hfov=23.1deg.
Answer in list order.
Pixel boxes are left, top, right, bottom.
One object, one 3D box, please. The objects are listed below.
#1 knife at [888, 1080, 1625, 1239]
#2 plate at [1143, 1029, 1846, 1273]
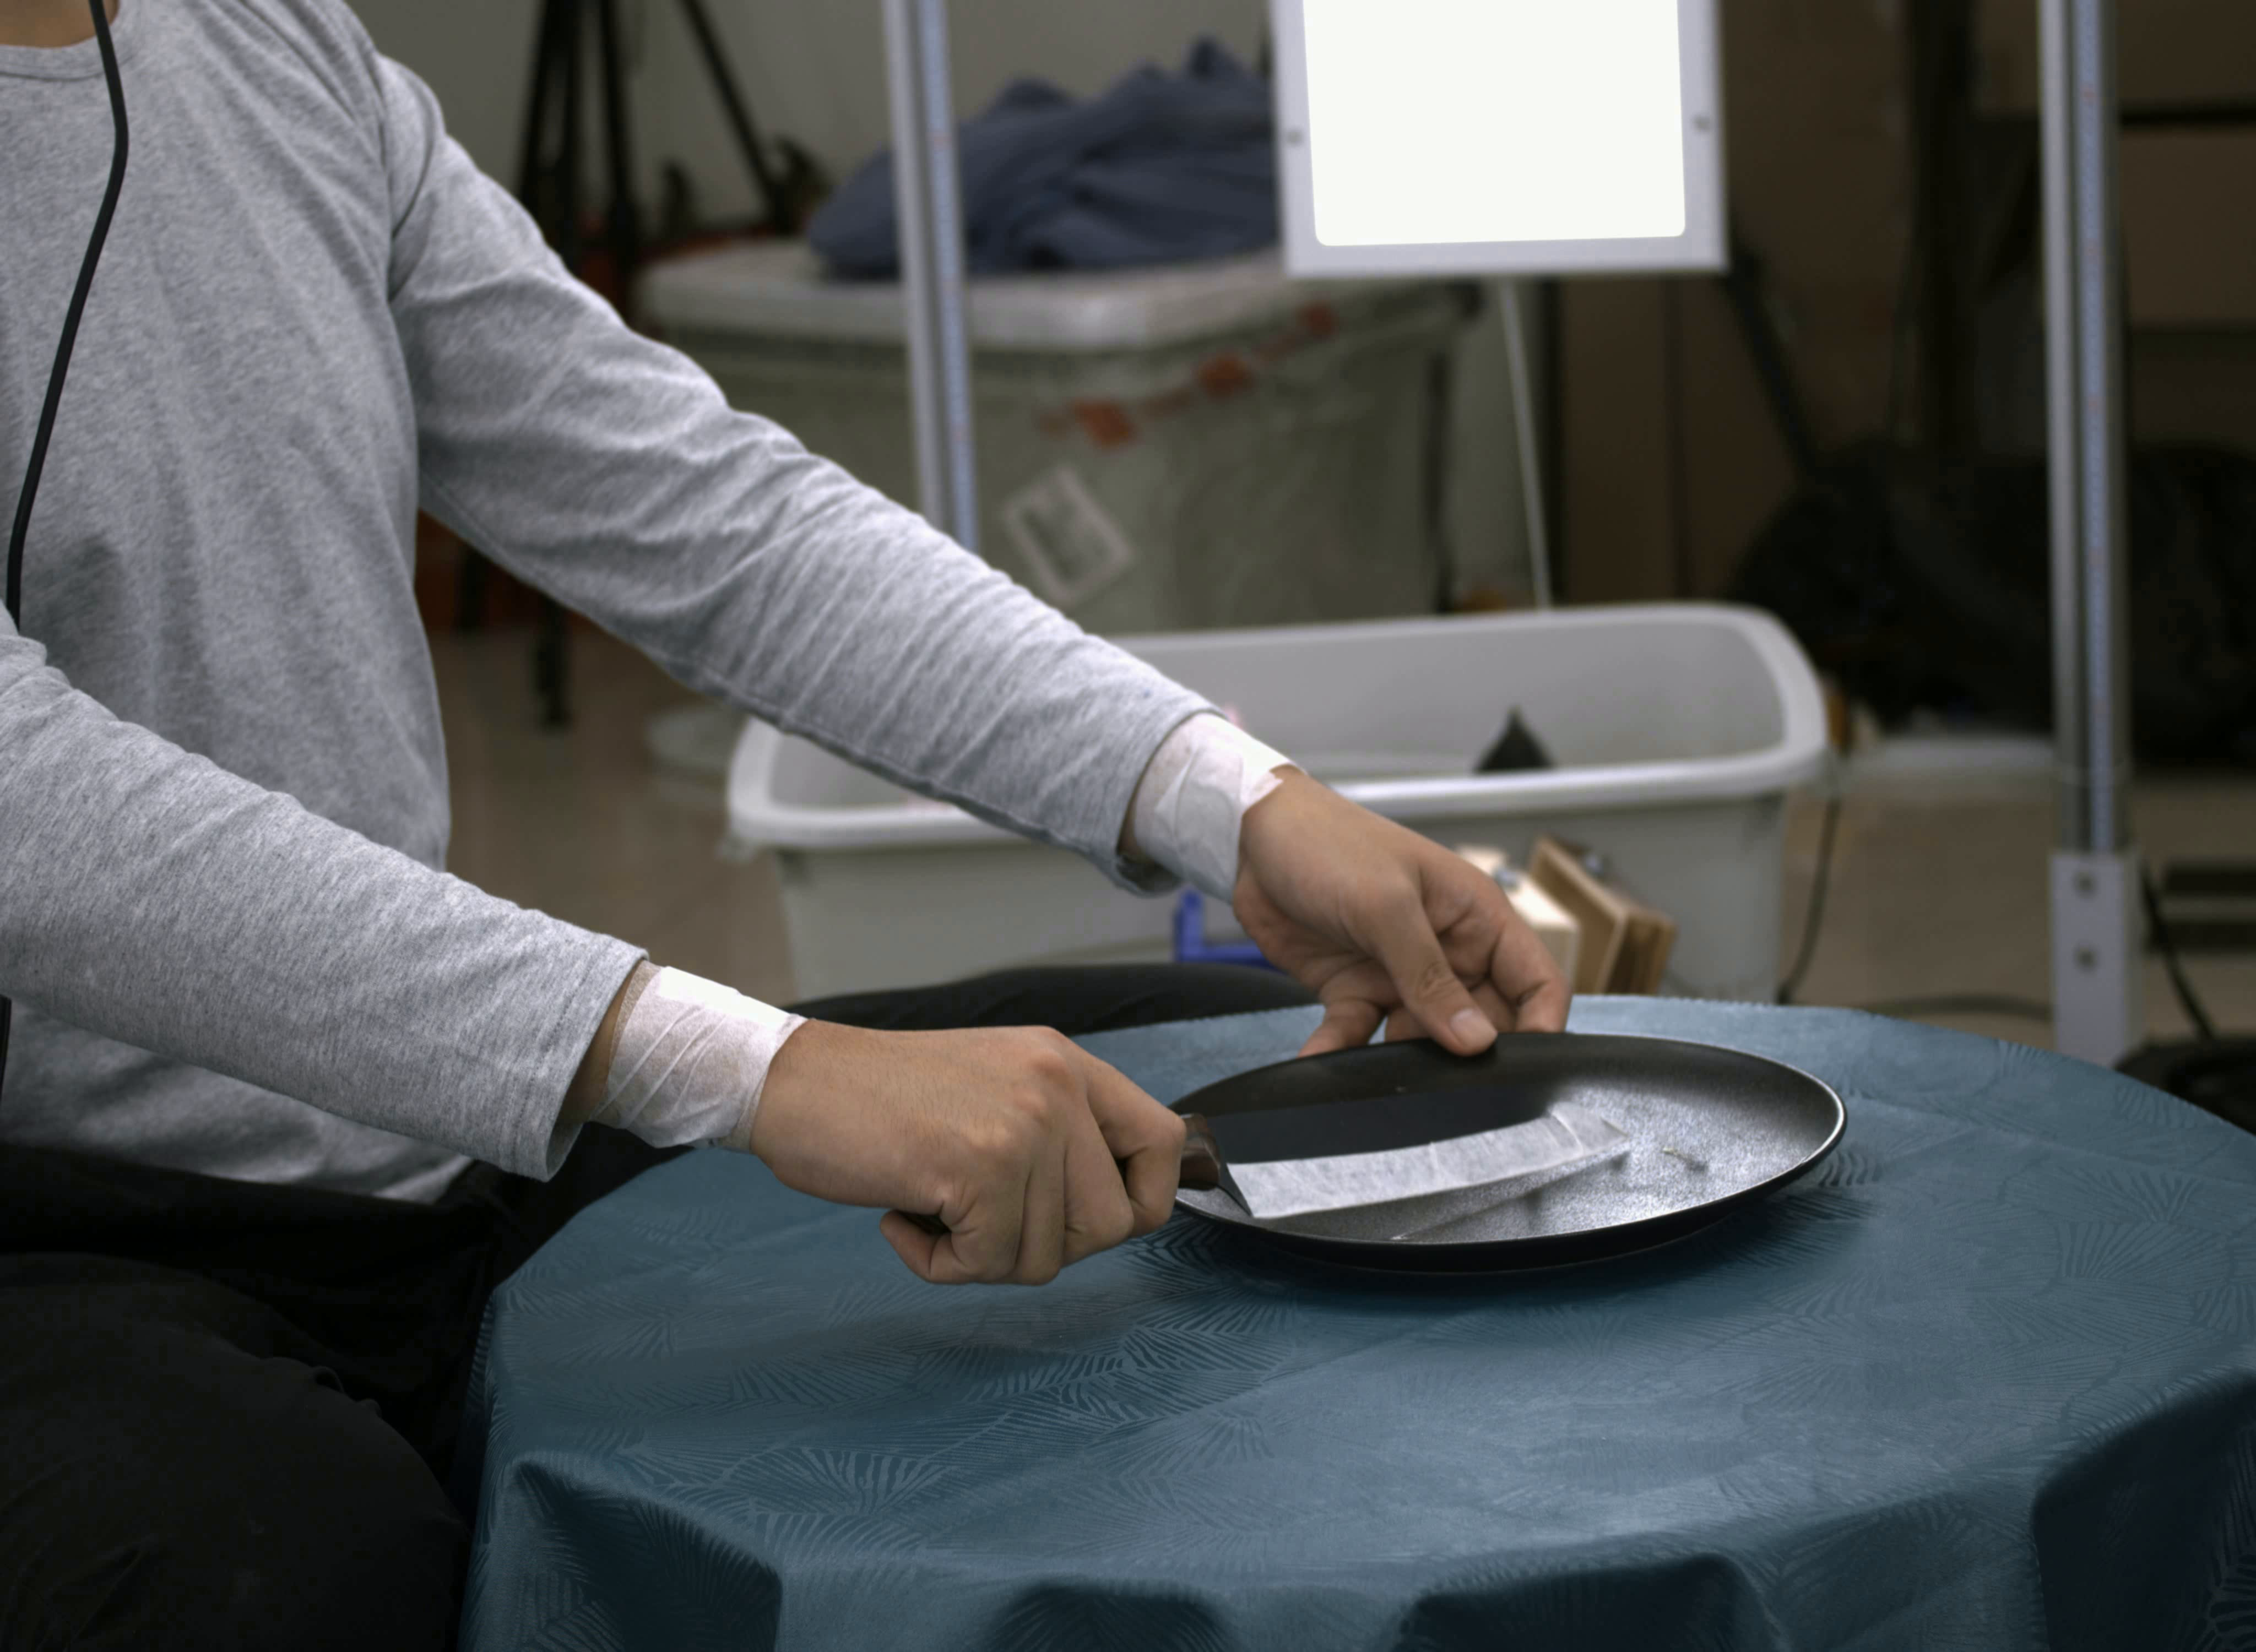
[{"bbox_3d":[0.049,0.110,1.806,0.282,0.020,0.050,-3,48,-31],"label":"knife"},{"bbox_3d":[0.123,0.113,1.867,0.244,0.023,0.244,-5,14,0],"label":"plate"}]
